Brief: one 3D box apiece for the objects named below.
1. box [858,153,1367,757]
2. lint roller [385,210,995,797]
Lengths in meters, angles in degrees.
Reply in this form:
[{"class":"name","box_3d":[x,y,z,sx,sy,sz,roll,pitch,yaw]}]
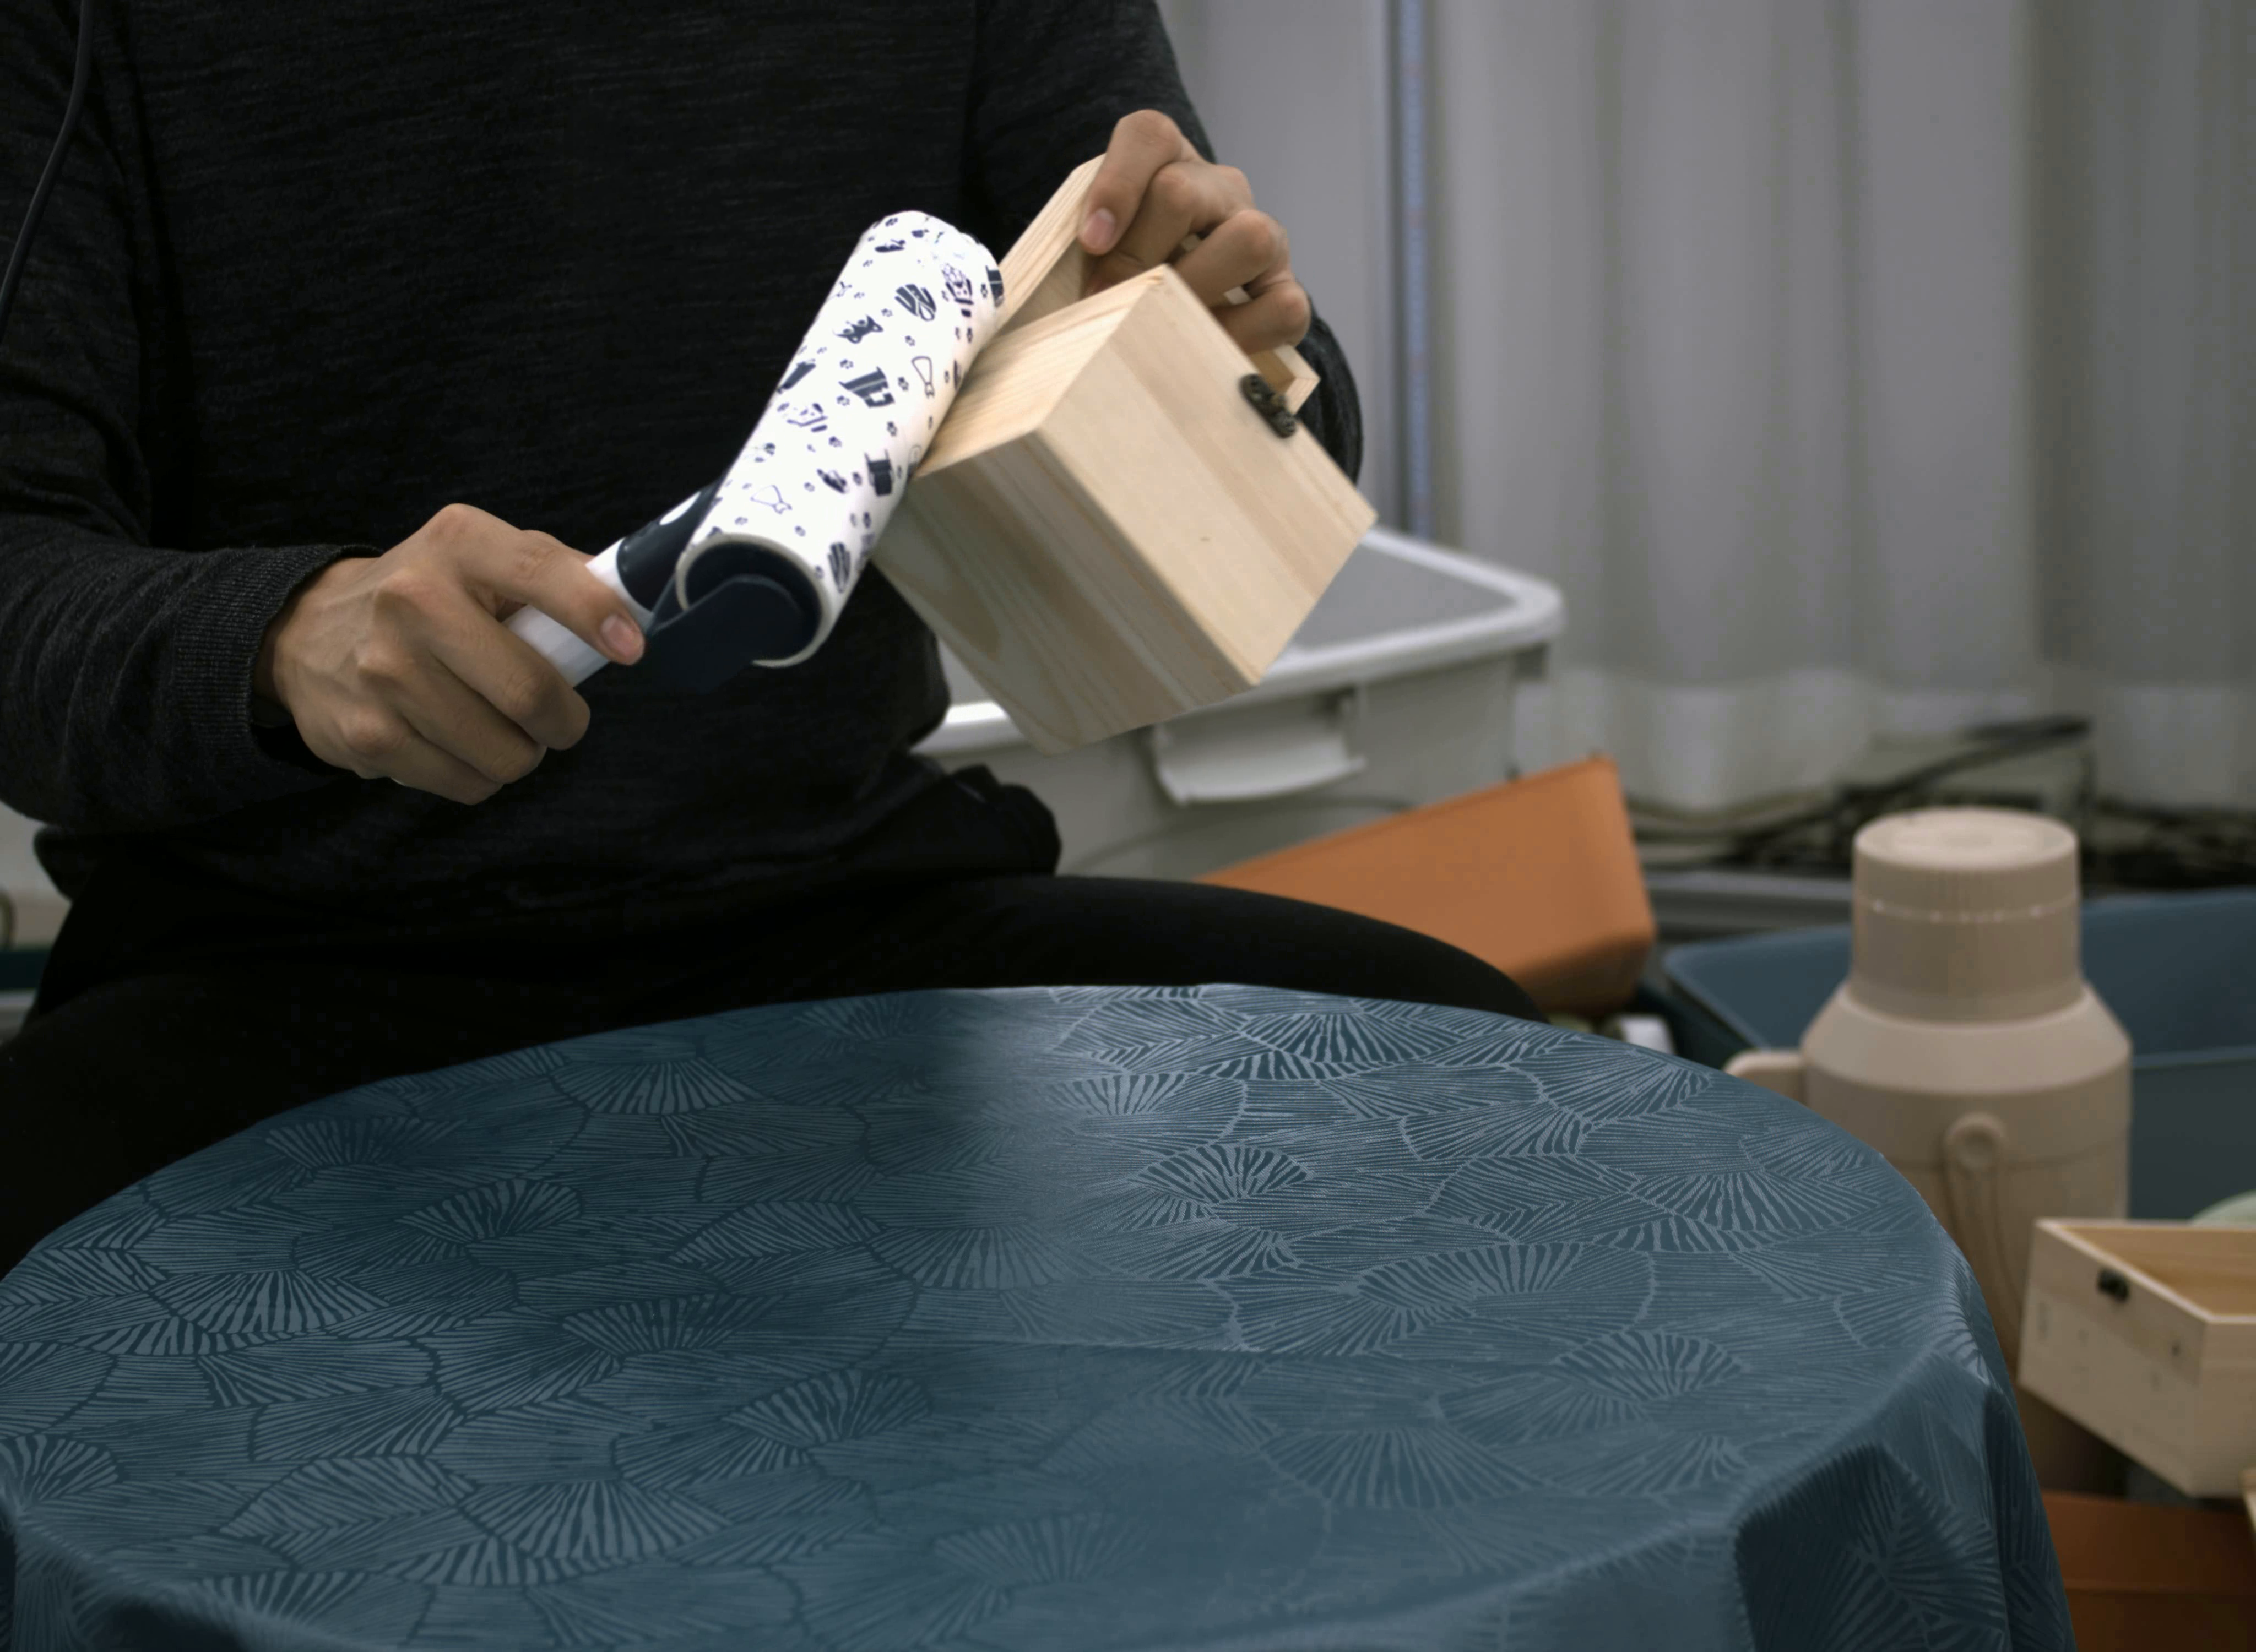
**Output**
[{"class":"box","box_3d":[0.011,-0.124,1.644,0.134,0.102,0.186,-18,28,49]},{"class":"lint roller","box_3d":[-0.150,-0.073,1.634,0.246,0.050,0.178,-31,24,37]}]
